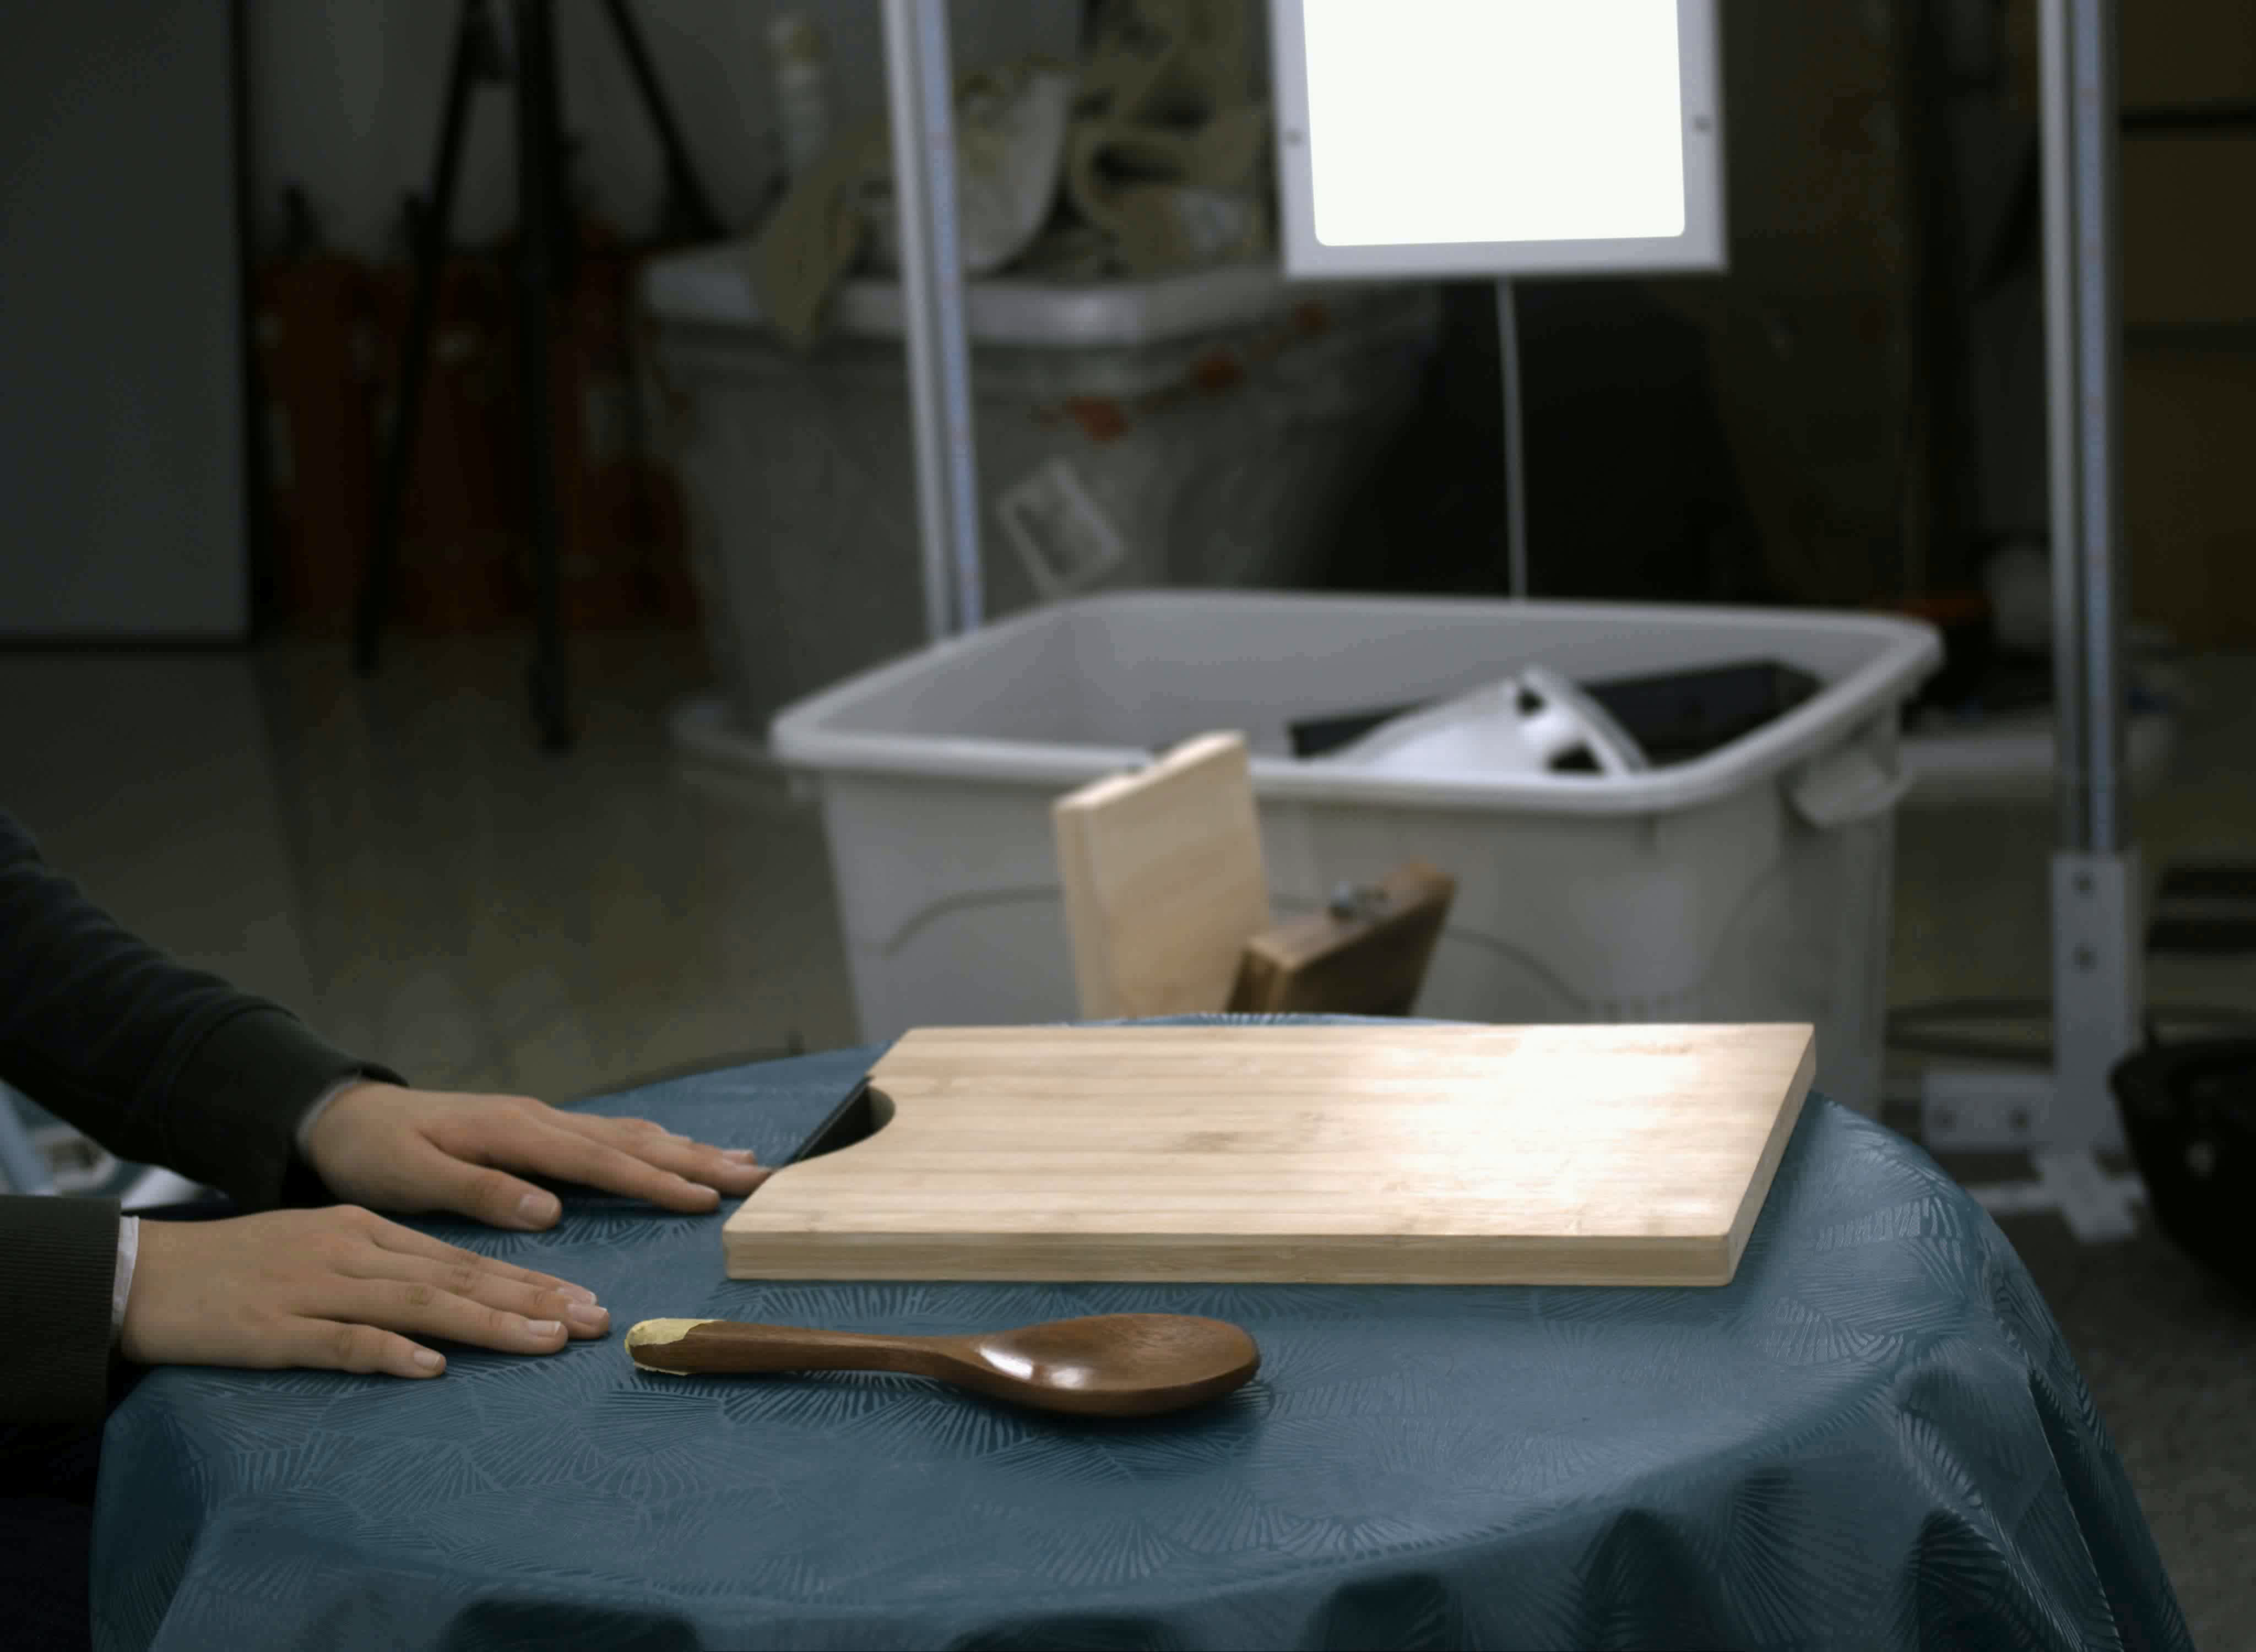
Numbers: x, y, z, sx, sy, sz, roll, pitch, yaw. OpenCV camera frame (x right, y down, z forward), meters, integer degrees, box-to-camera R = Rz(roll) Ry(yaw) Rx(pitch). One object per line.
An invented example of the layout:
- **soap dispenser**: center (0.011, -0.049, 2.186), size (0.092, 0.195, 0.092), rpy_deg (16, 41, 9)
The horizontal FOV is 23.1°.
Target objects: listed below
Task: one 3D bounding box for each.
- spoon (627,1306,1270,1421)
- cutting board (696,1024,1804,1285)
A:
- **spoon**: center (-0.058, 0.166, 1.721), size (0.219, 0.017, 0.074), rpy_deg (2, 17, 24)
- **cutting board**: center (0.049, 0.112, 1.906), size (0.352, 0.023, 0.247), rpy_deg (-1, 14, 15)
